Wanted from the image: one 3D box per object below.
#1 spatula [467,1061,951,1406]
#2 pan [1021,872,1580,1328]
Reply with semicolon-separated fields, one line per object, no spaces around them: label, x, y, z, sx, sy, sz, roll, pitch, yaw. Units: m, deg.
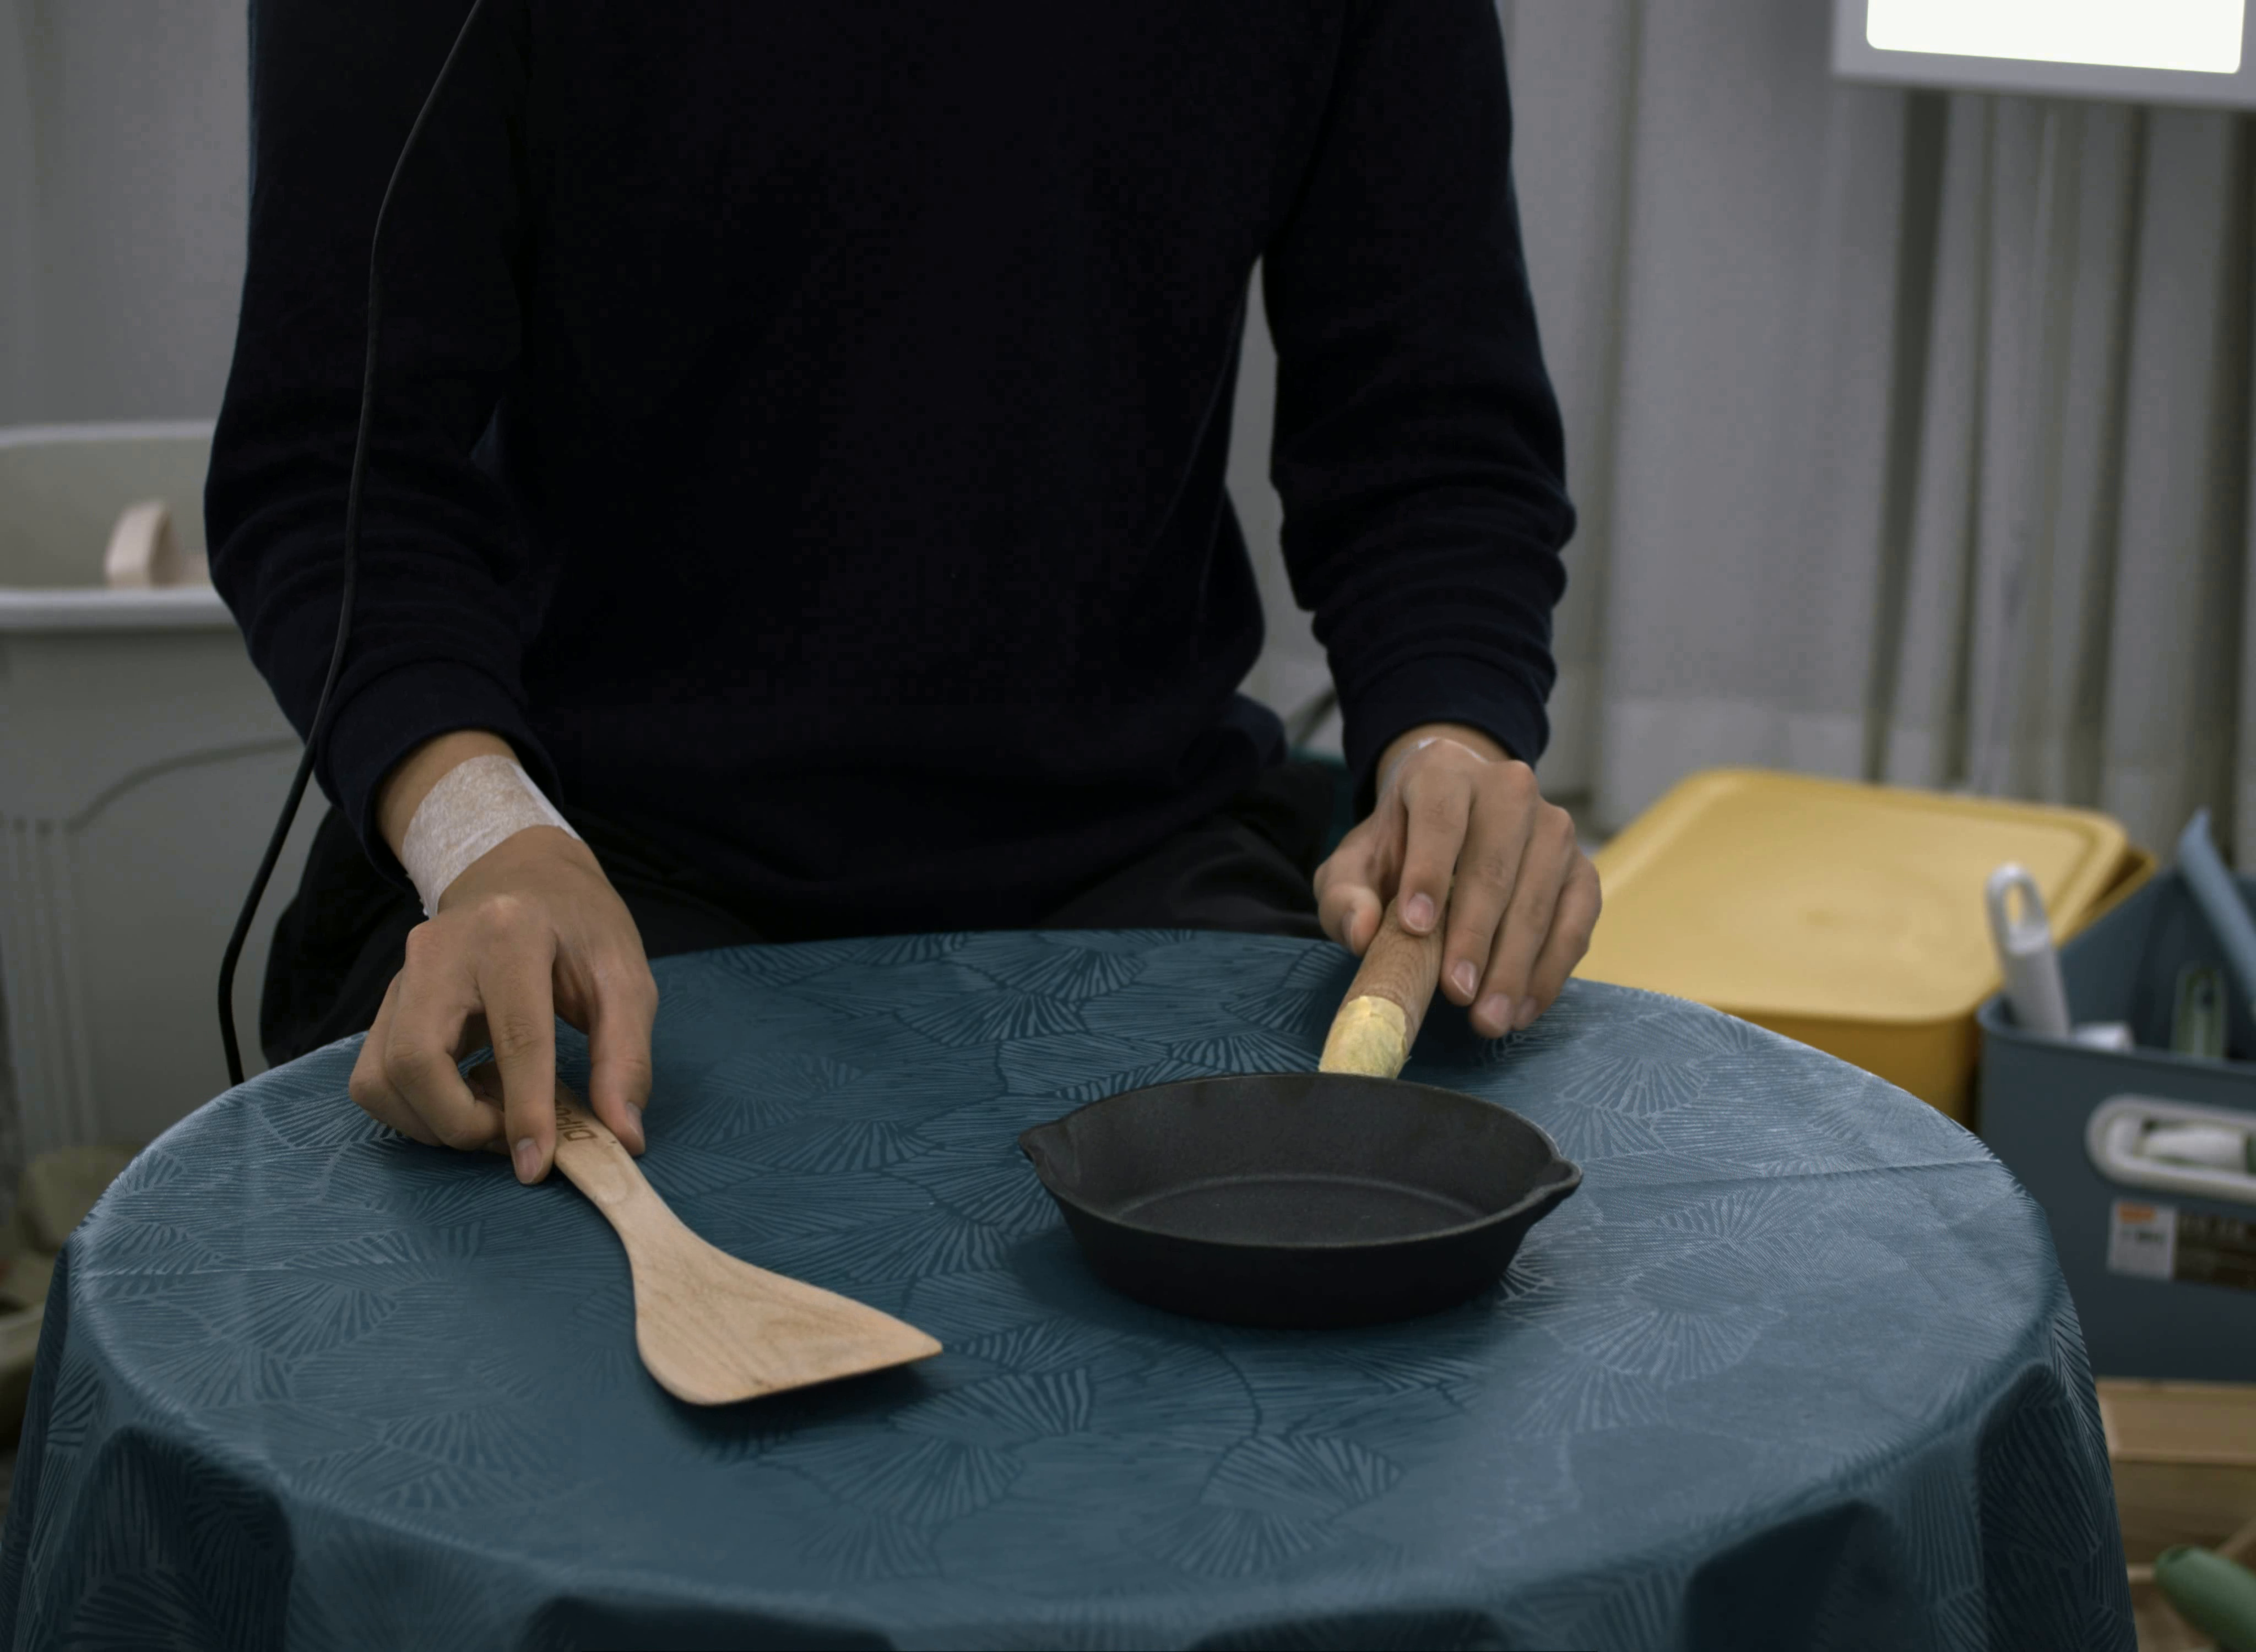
spatula;-0.141;0.116;1.571;0.080;0.016;0.323;-6;17;-22
pan;0.071;0.082;1.640;0.167;0.050;0.324;4;18;13
